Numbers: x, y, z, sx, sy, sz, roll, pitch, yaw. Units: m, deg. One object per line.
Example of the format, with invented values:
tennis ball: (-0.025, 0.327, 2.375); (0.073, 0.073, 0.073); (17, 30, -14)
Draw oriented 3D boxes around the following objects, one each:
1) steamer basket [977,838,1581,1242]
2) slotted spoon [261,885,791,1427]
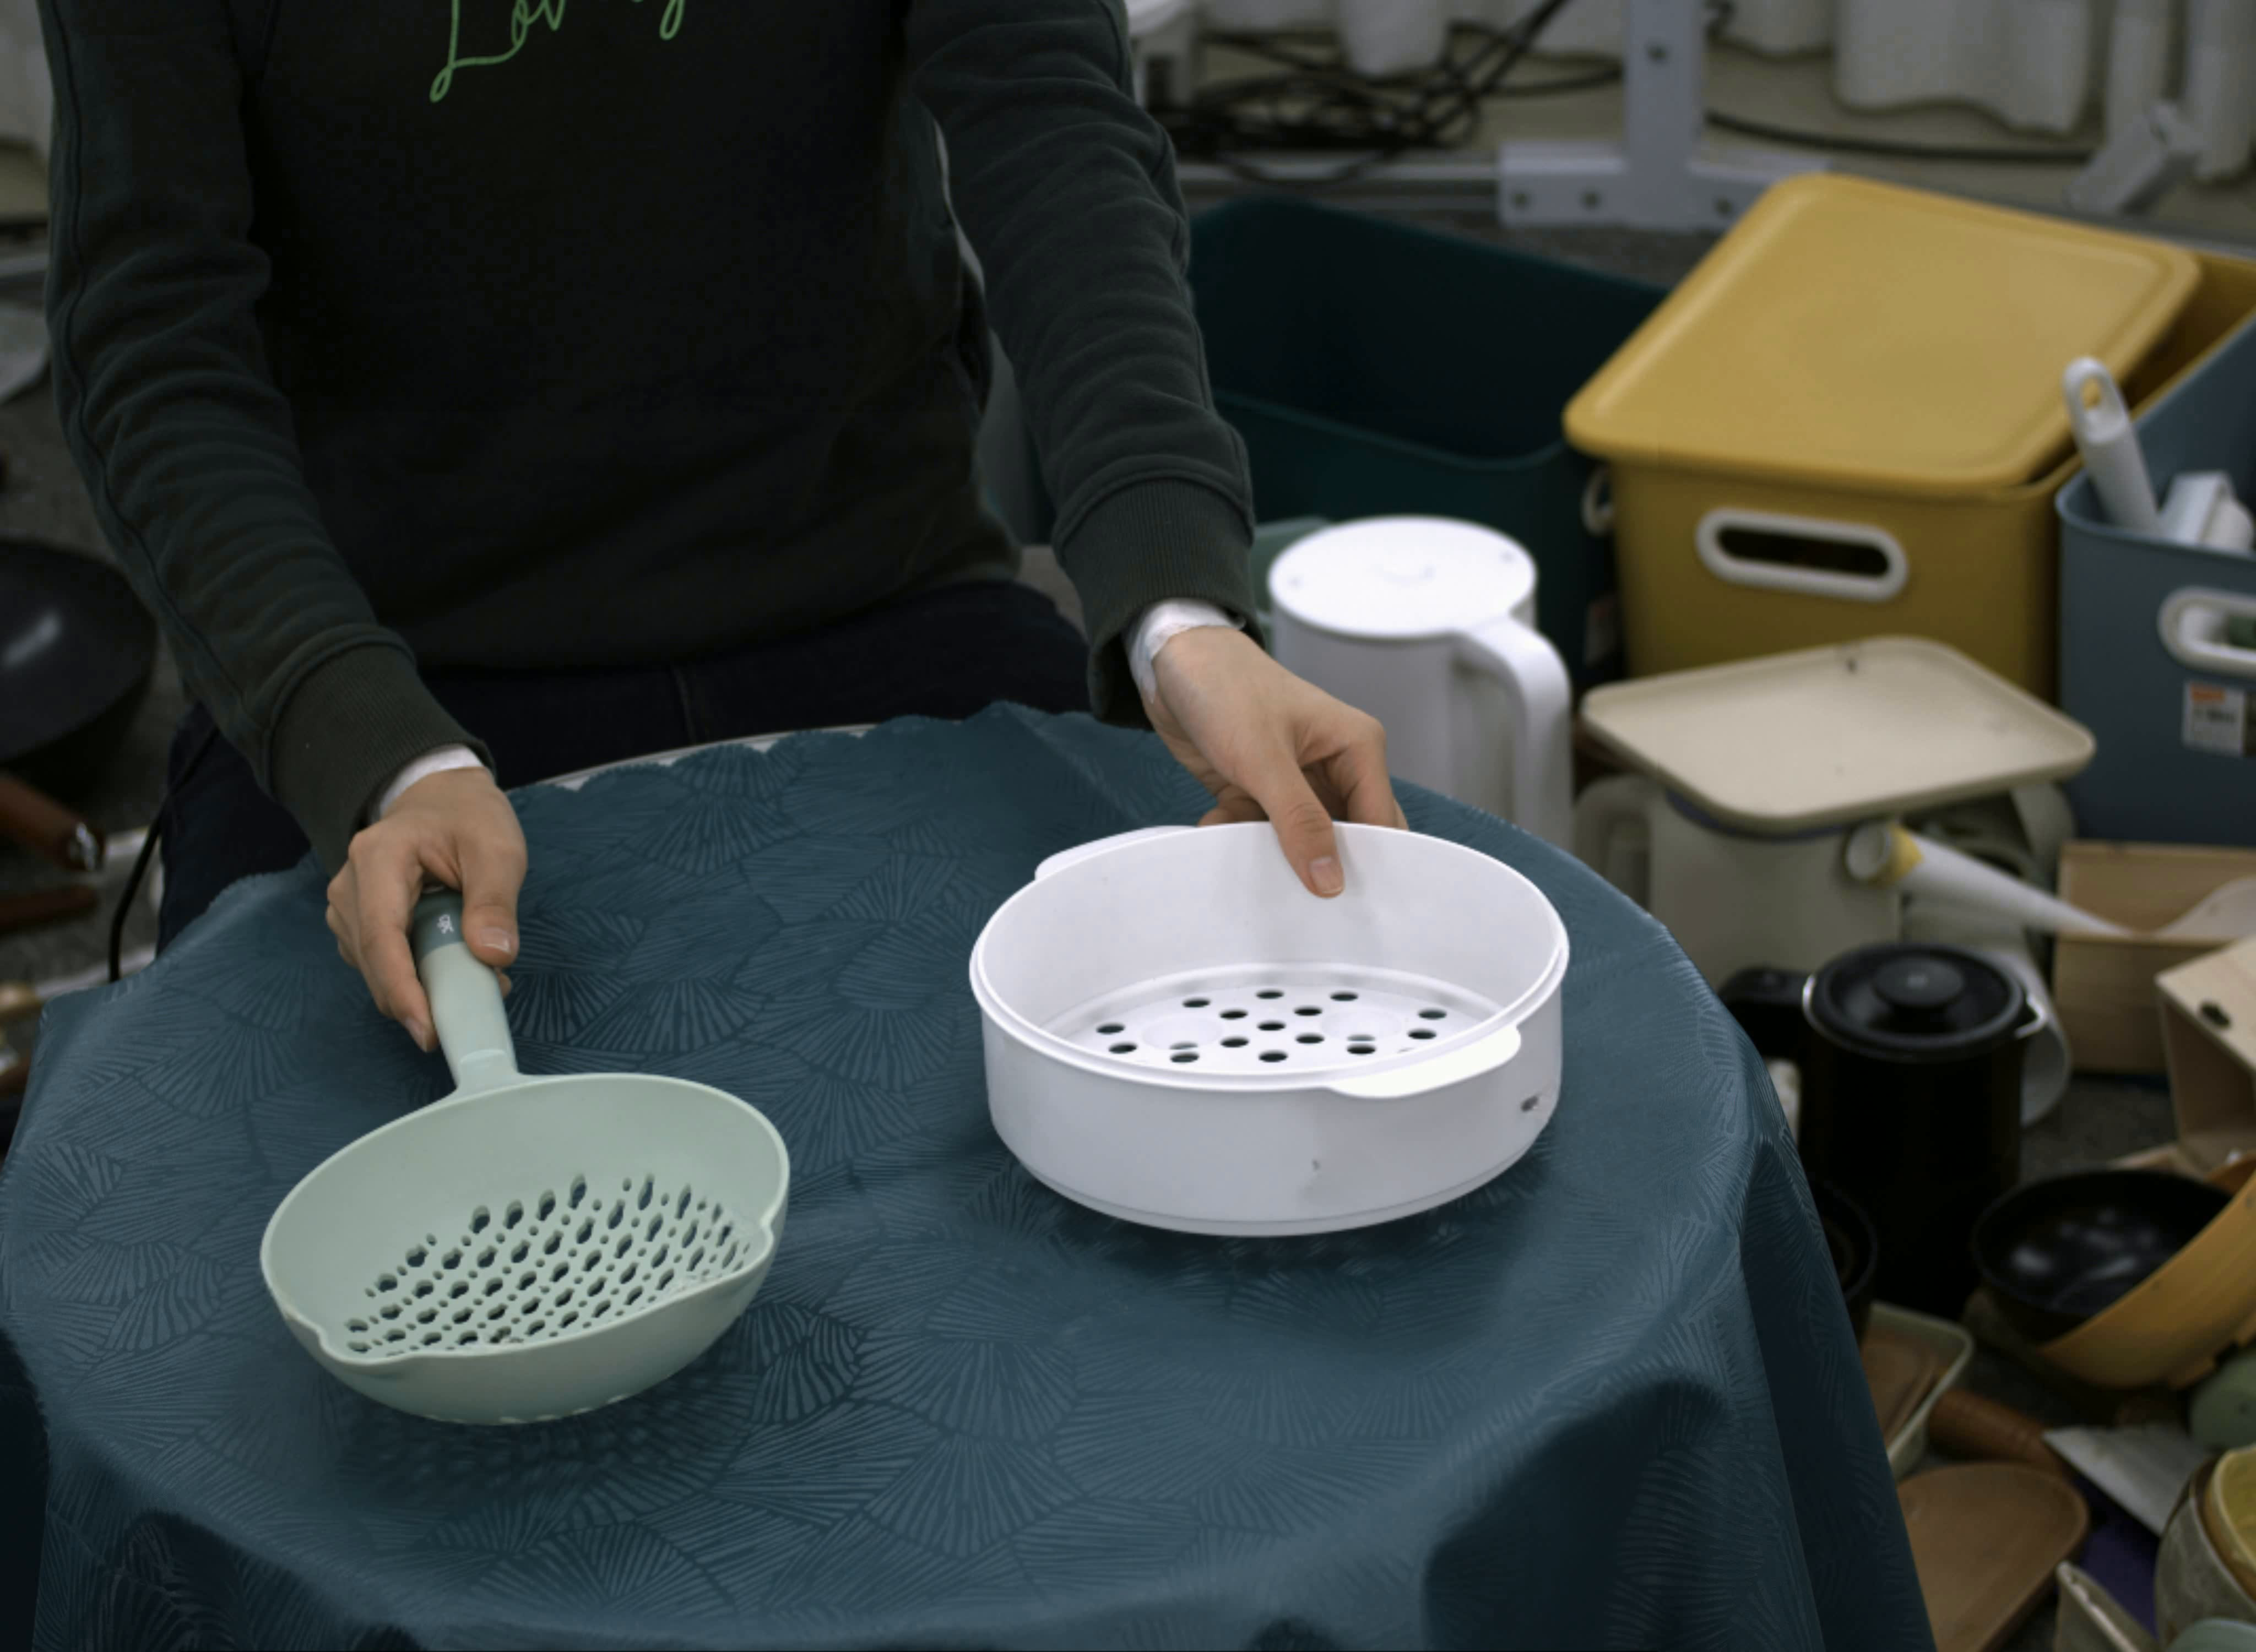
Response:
steamer basket: (0.051, 0.072, 1.874); (0.203, 0.068, 0.231); (-15, 25, -28)
slotted spoon: (-0.208, 0.092, 1.852); (0.169, 0.074, 0.363); (-12, 33, -8)
